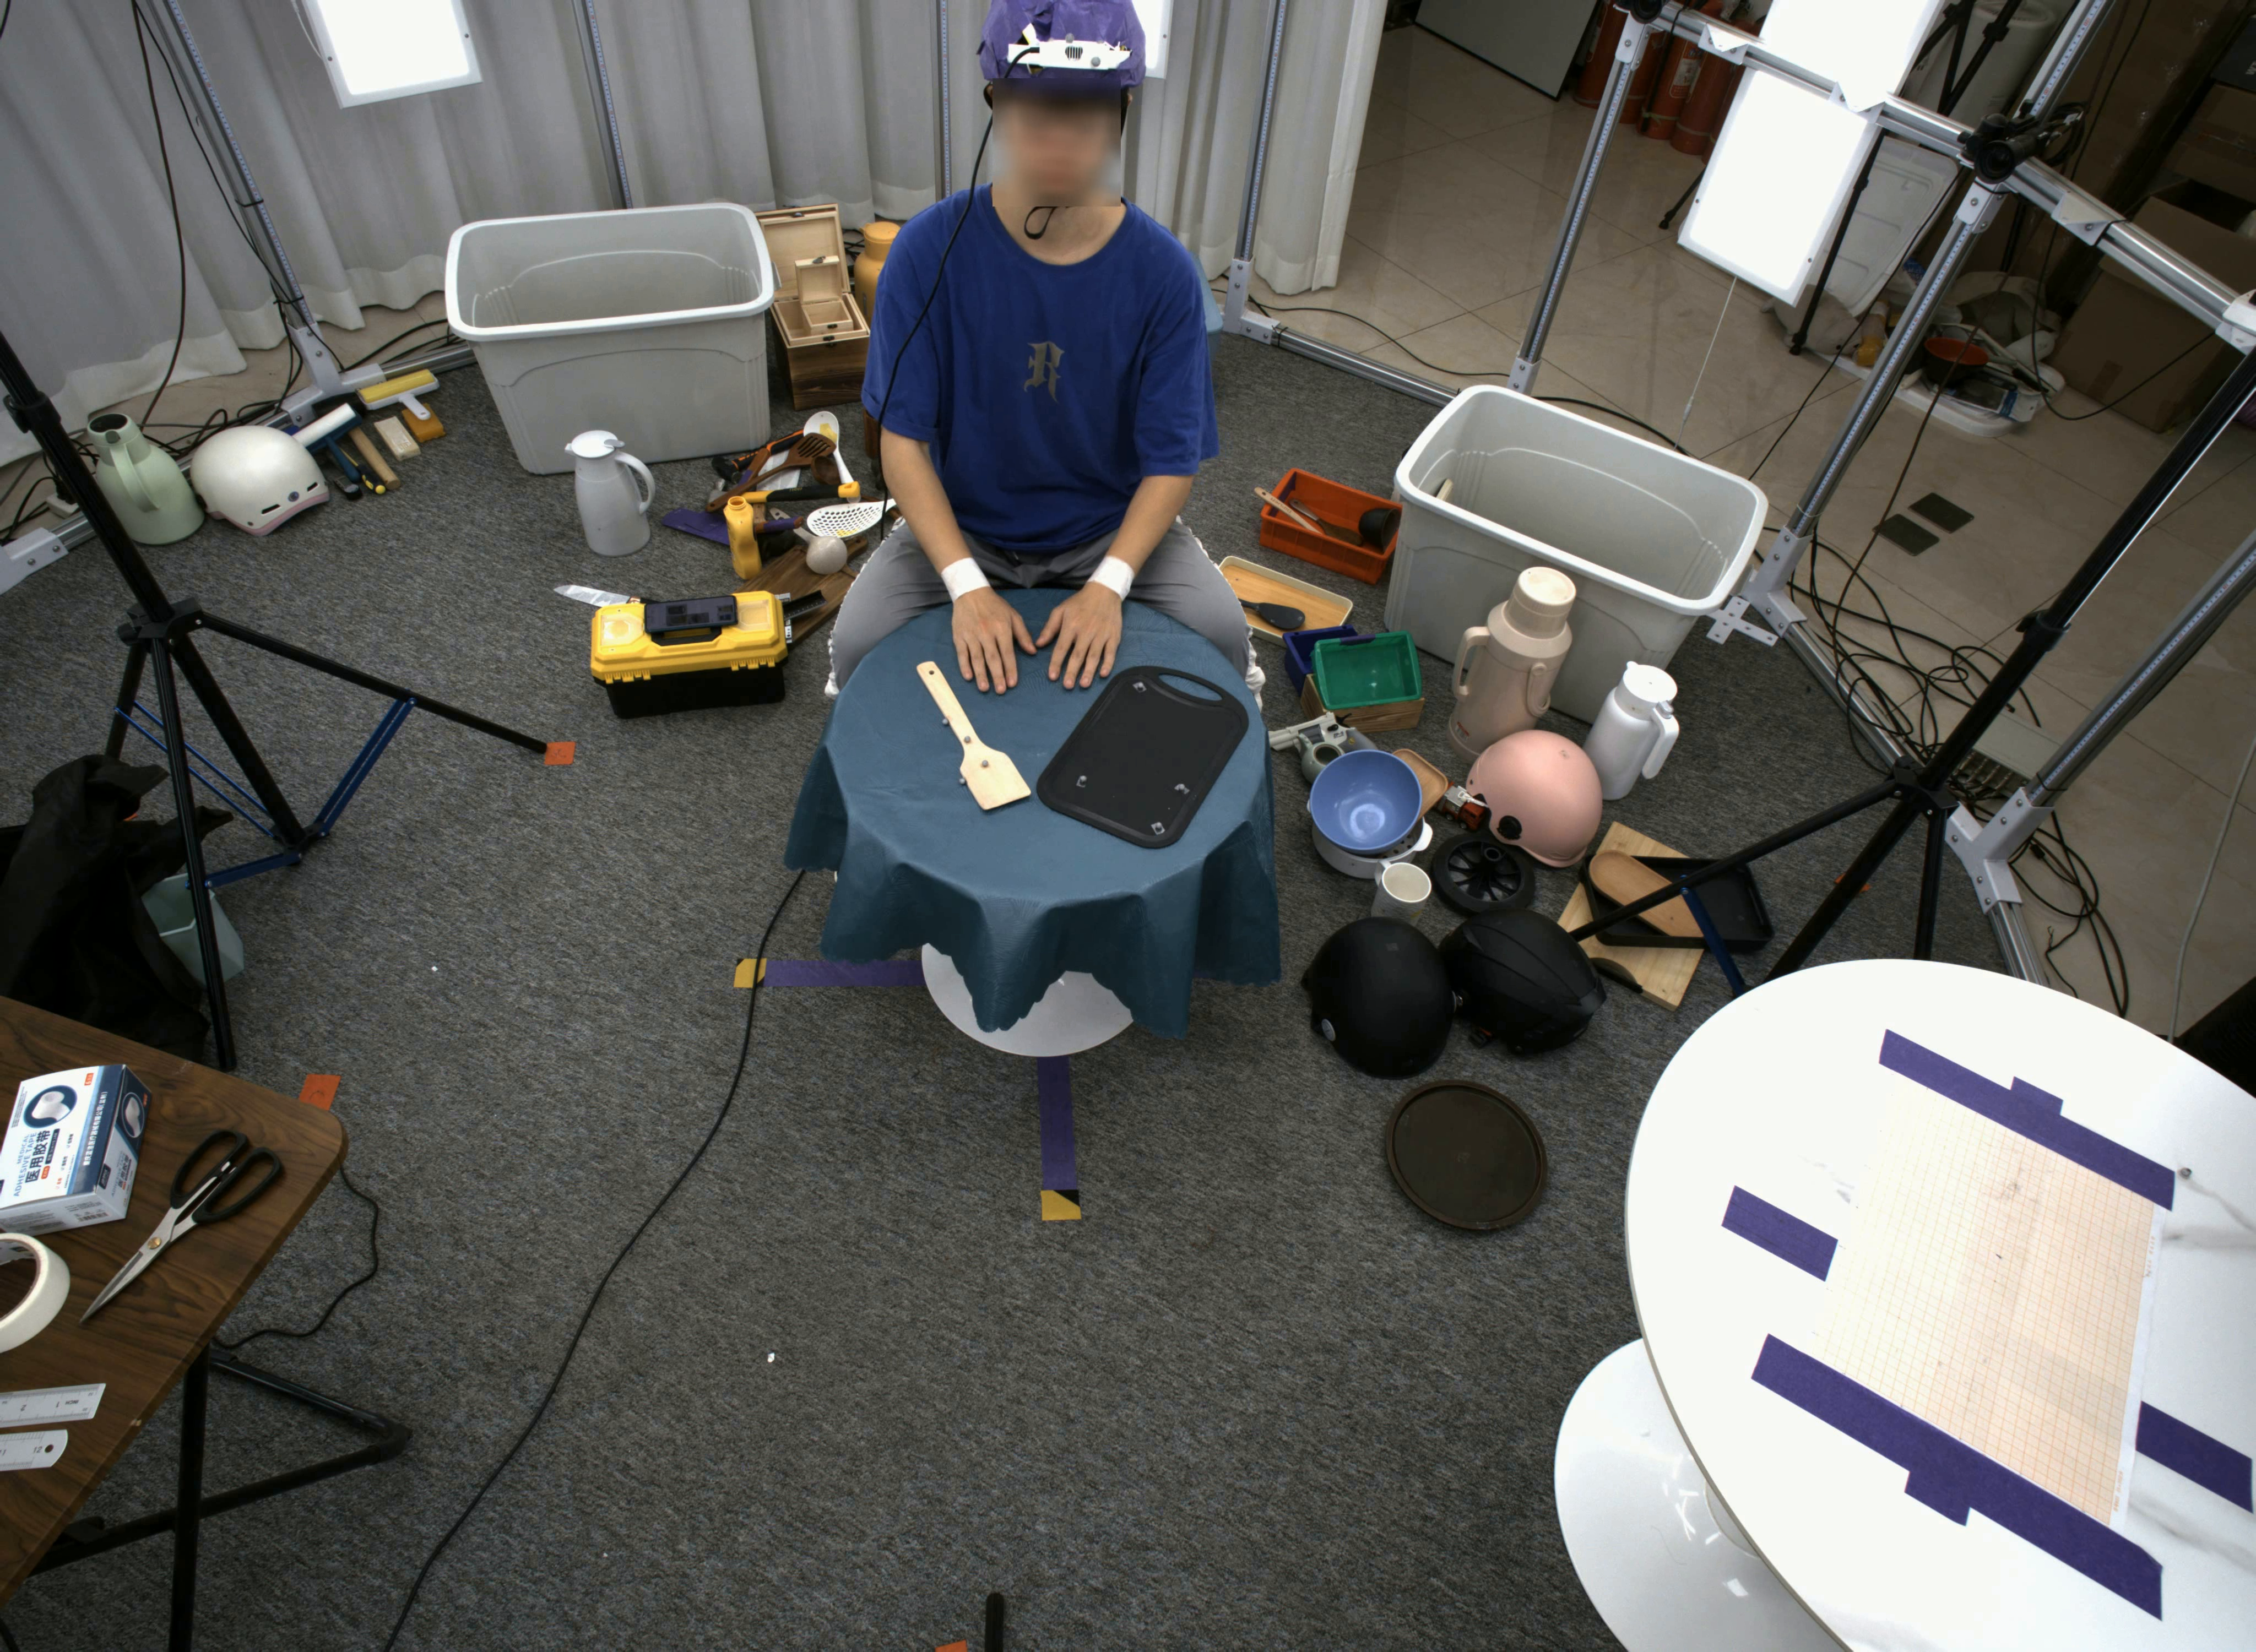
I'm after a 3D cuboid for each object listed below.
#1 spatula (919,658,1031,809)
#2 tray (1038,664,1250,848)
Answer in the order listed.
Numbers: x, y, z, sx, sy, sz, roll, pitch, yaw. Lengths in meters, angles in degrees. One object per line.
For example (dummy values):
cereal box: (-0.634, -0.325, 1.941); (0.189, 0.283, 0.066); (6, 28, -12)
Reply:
spatula: (-0.224, -0.135, 1.769); (0.072, 0.010, 0.299); (-20, 54, -18)
tray: (0.029, -0.111, 1.766); (0.212, 0.009, 0.331); (23, 52, 15)
